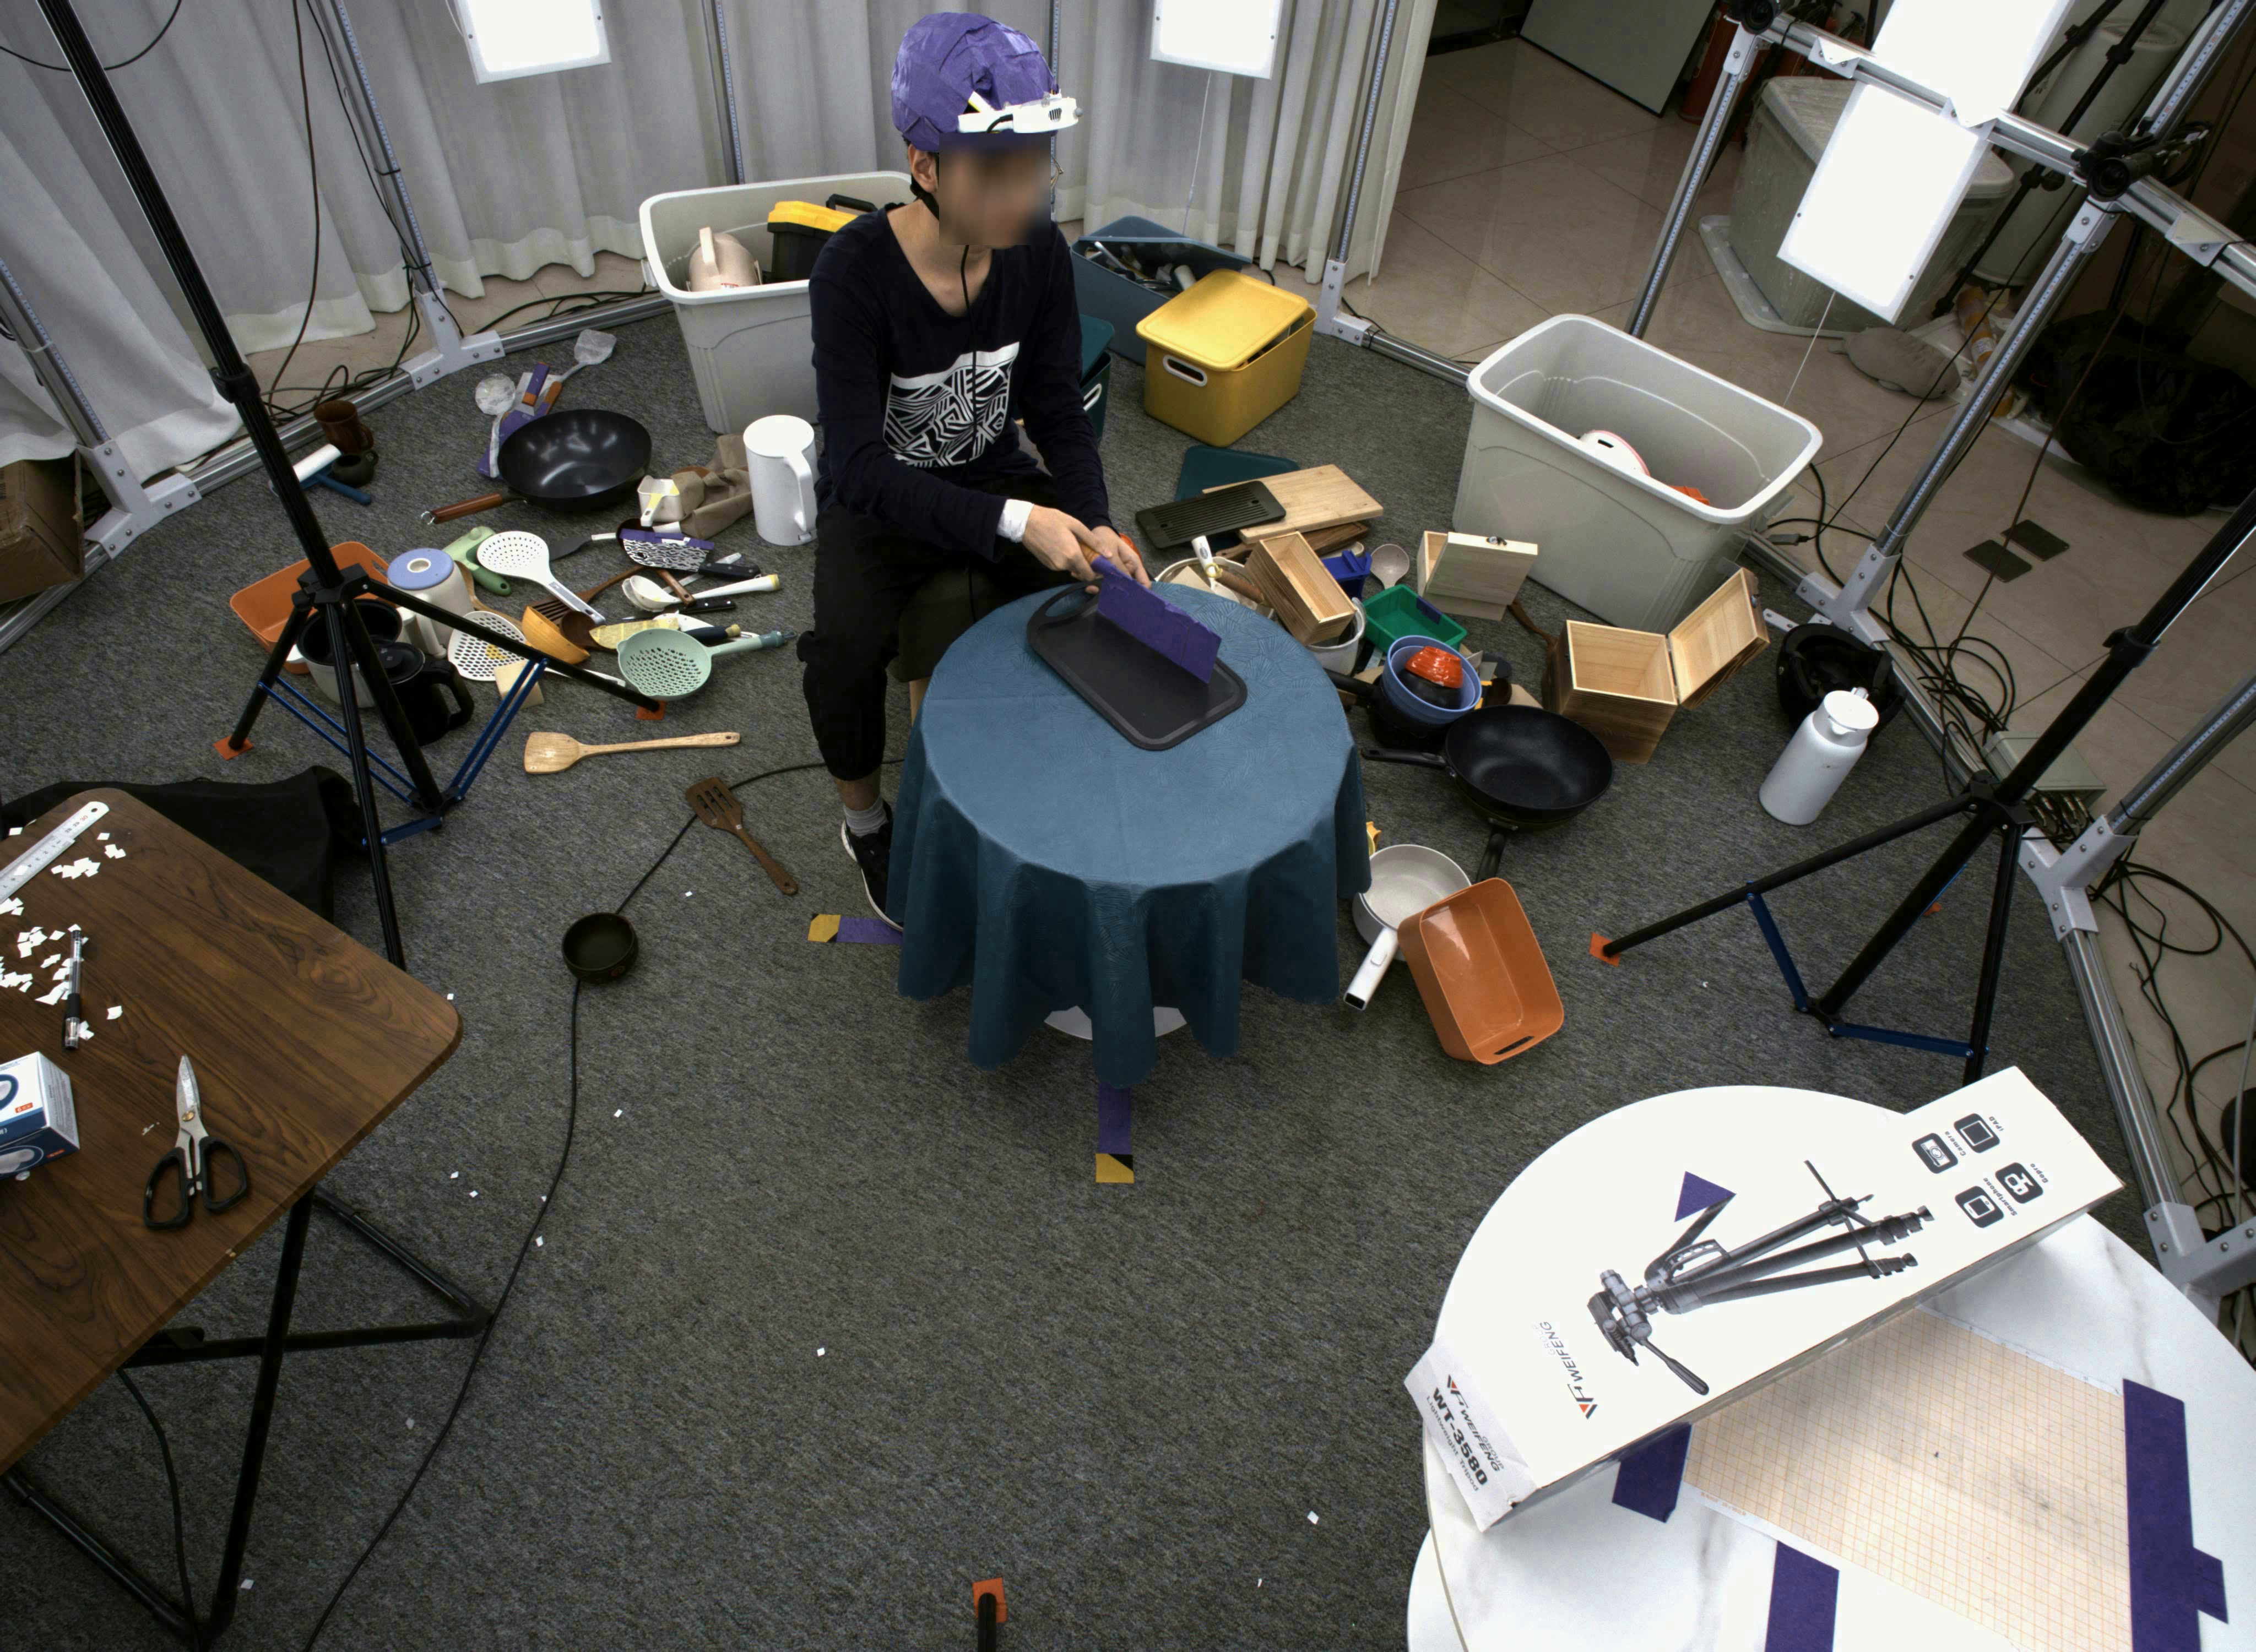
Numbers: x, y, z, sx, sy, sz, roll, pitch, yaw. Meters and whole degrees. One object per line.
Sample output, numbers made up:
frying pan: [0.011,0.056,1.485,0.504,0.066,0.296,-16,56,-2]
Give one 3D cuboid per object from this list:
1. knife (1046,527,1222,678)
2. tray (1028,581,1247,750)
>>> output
knife: [0.002,-0.319,1.861,0.319,0.101,0.032,37,49,21]
tray: [0.006,-0.245,1.865,0.212,0.009,0.331,-31,61,-26]
